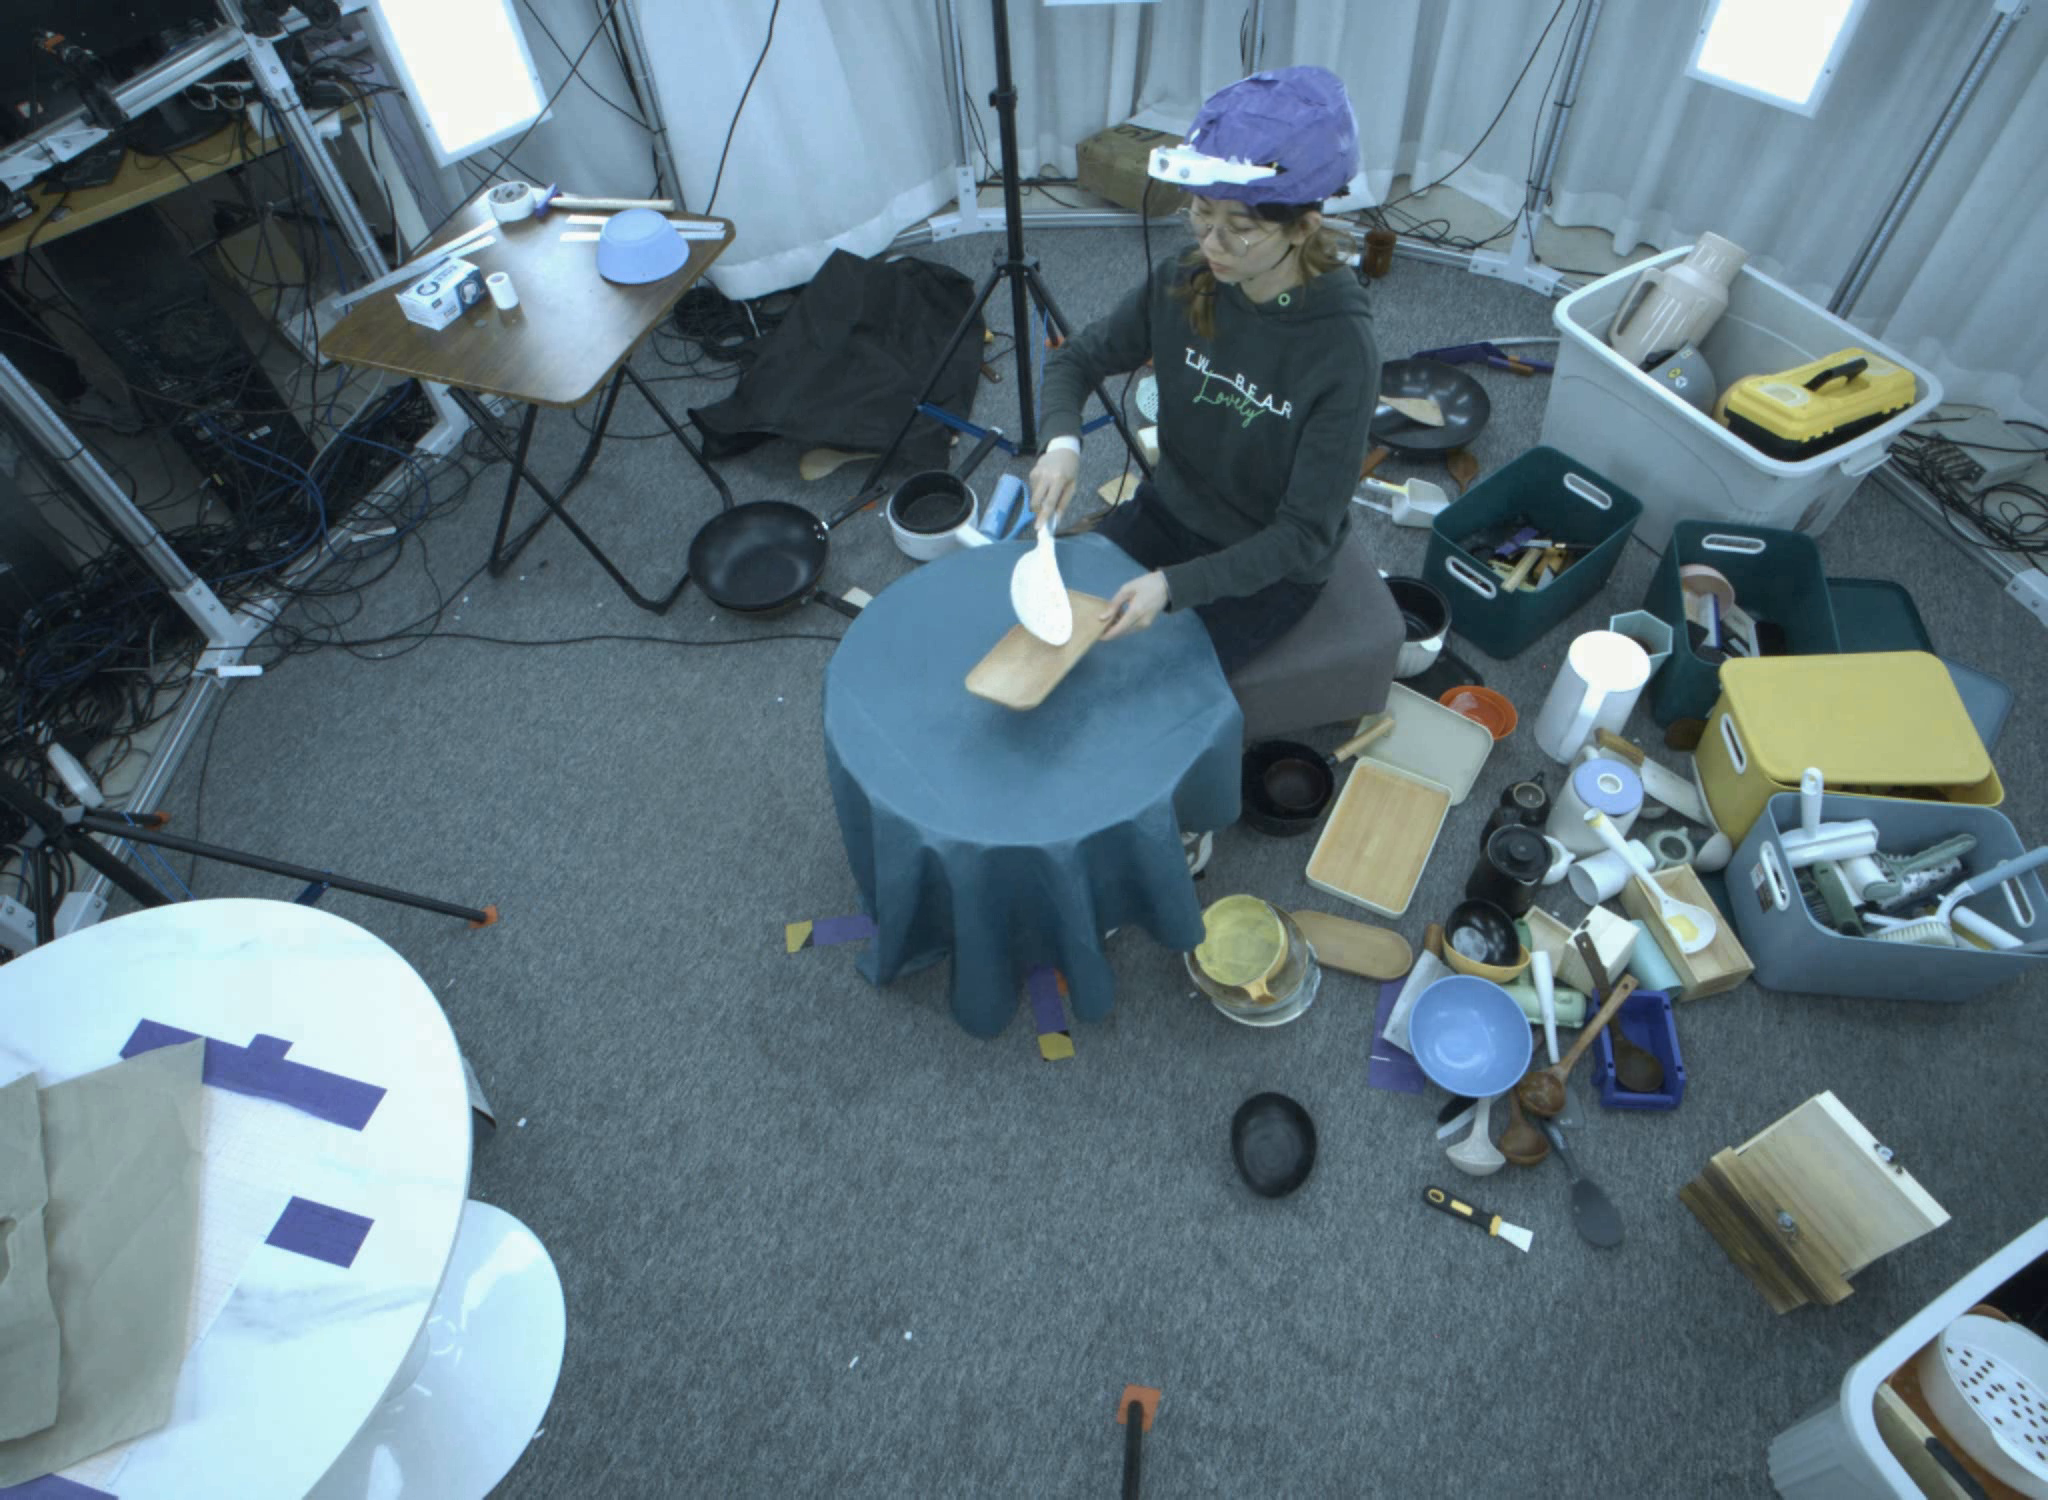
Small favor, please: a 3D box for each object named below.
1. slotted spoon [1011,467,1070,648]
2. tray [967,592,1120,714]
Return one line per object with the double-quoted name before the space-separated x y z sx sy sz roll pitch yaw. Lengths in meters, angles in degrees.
"slotted spoon" 0.031 -0.298 1.828 0.045 0.139 0.347 -13 52 33
"tray" 0.030 -0.144 1.790 0.128 0.023 0.252 23 53 28
